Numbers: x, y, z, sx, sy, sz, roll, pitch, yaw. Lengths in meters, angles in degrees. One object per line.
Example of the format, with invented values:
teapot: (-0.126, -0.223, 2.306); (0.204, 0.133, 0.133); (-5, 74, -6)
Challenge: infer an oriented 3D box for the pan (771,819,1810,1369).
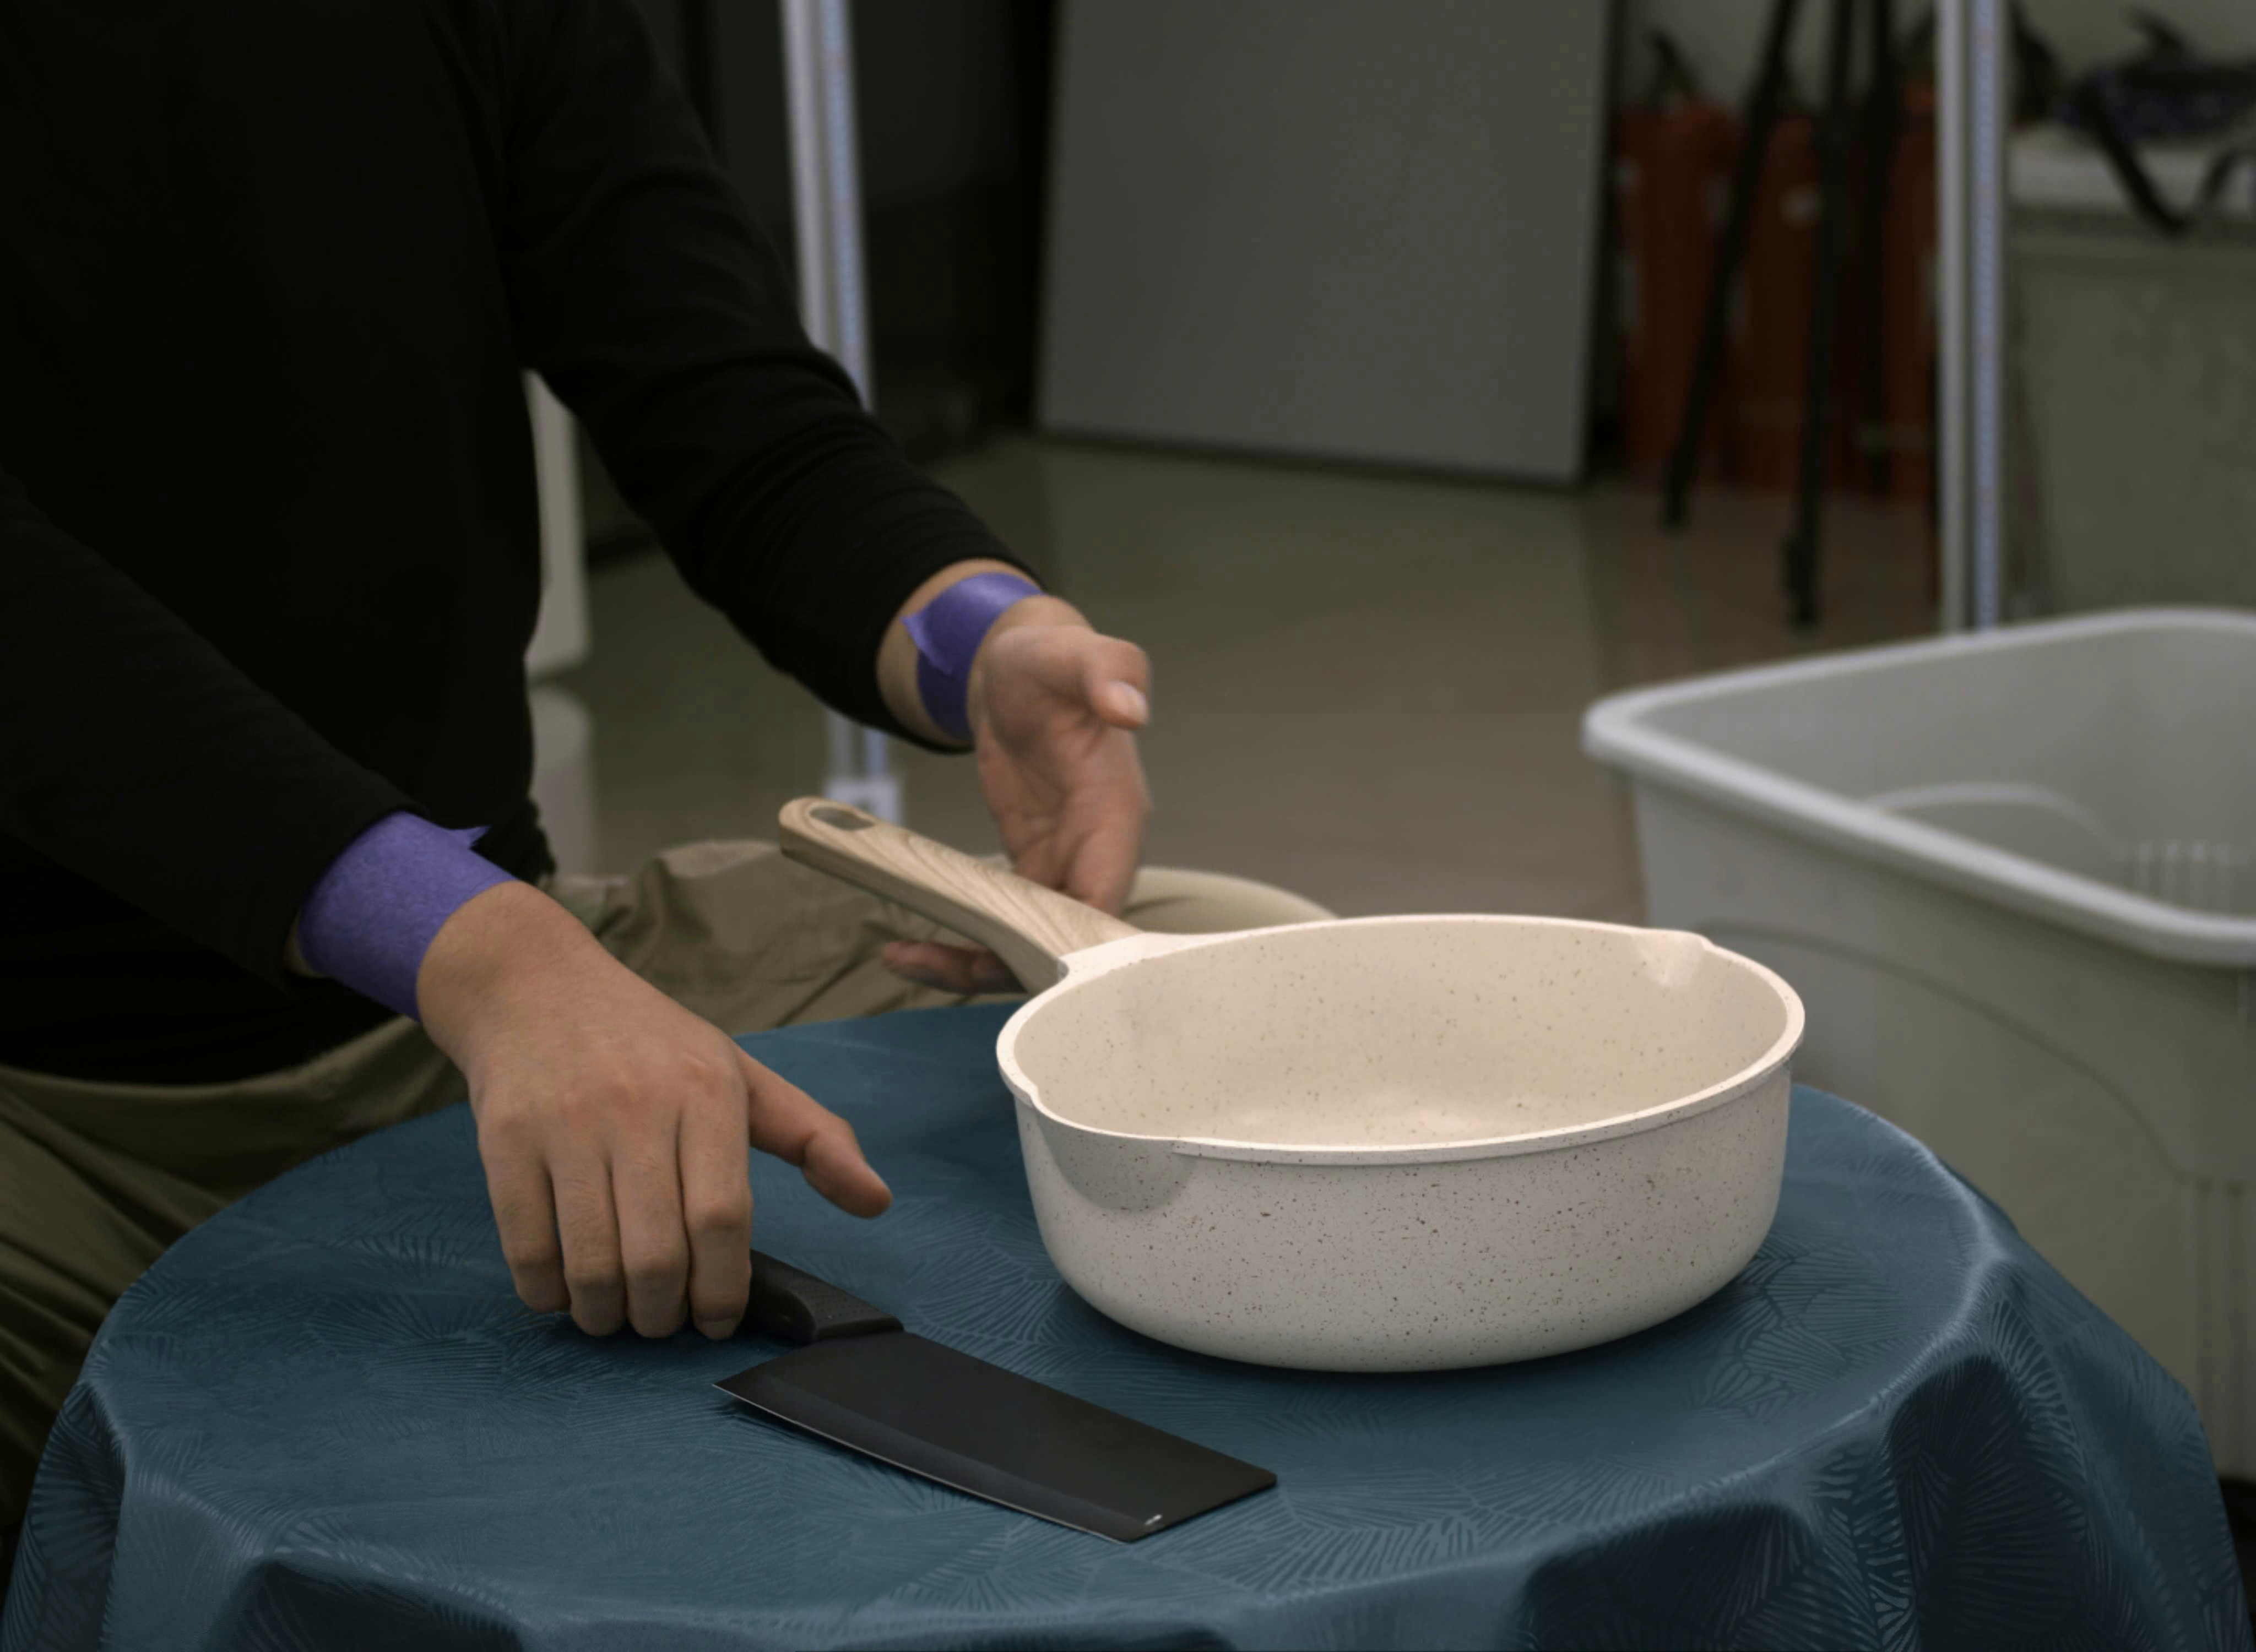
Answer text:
pan: (0.029, 0.077, 1.739); (0.258, 0.103, 0.439); (-17, 19, -37)

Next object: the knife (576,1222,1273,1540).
knife: (-0.075, 0.163, 1.601); (0.079, 0.021, 0.305); (-14, 19, -34)
